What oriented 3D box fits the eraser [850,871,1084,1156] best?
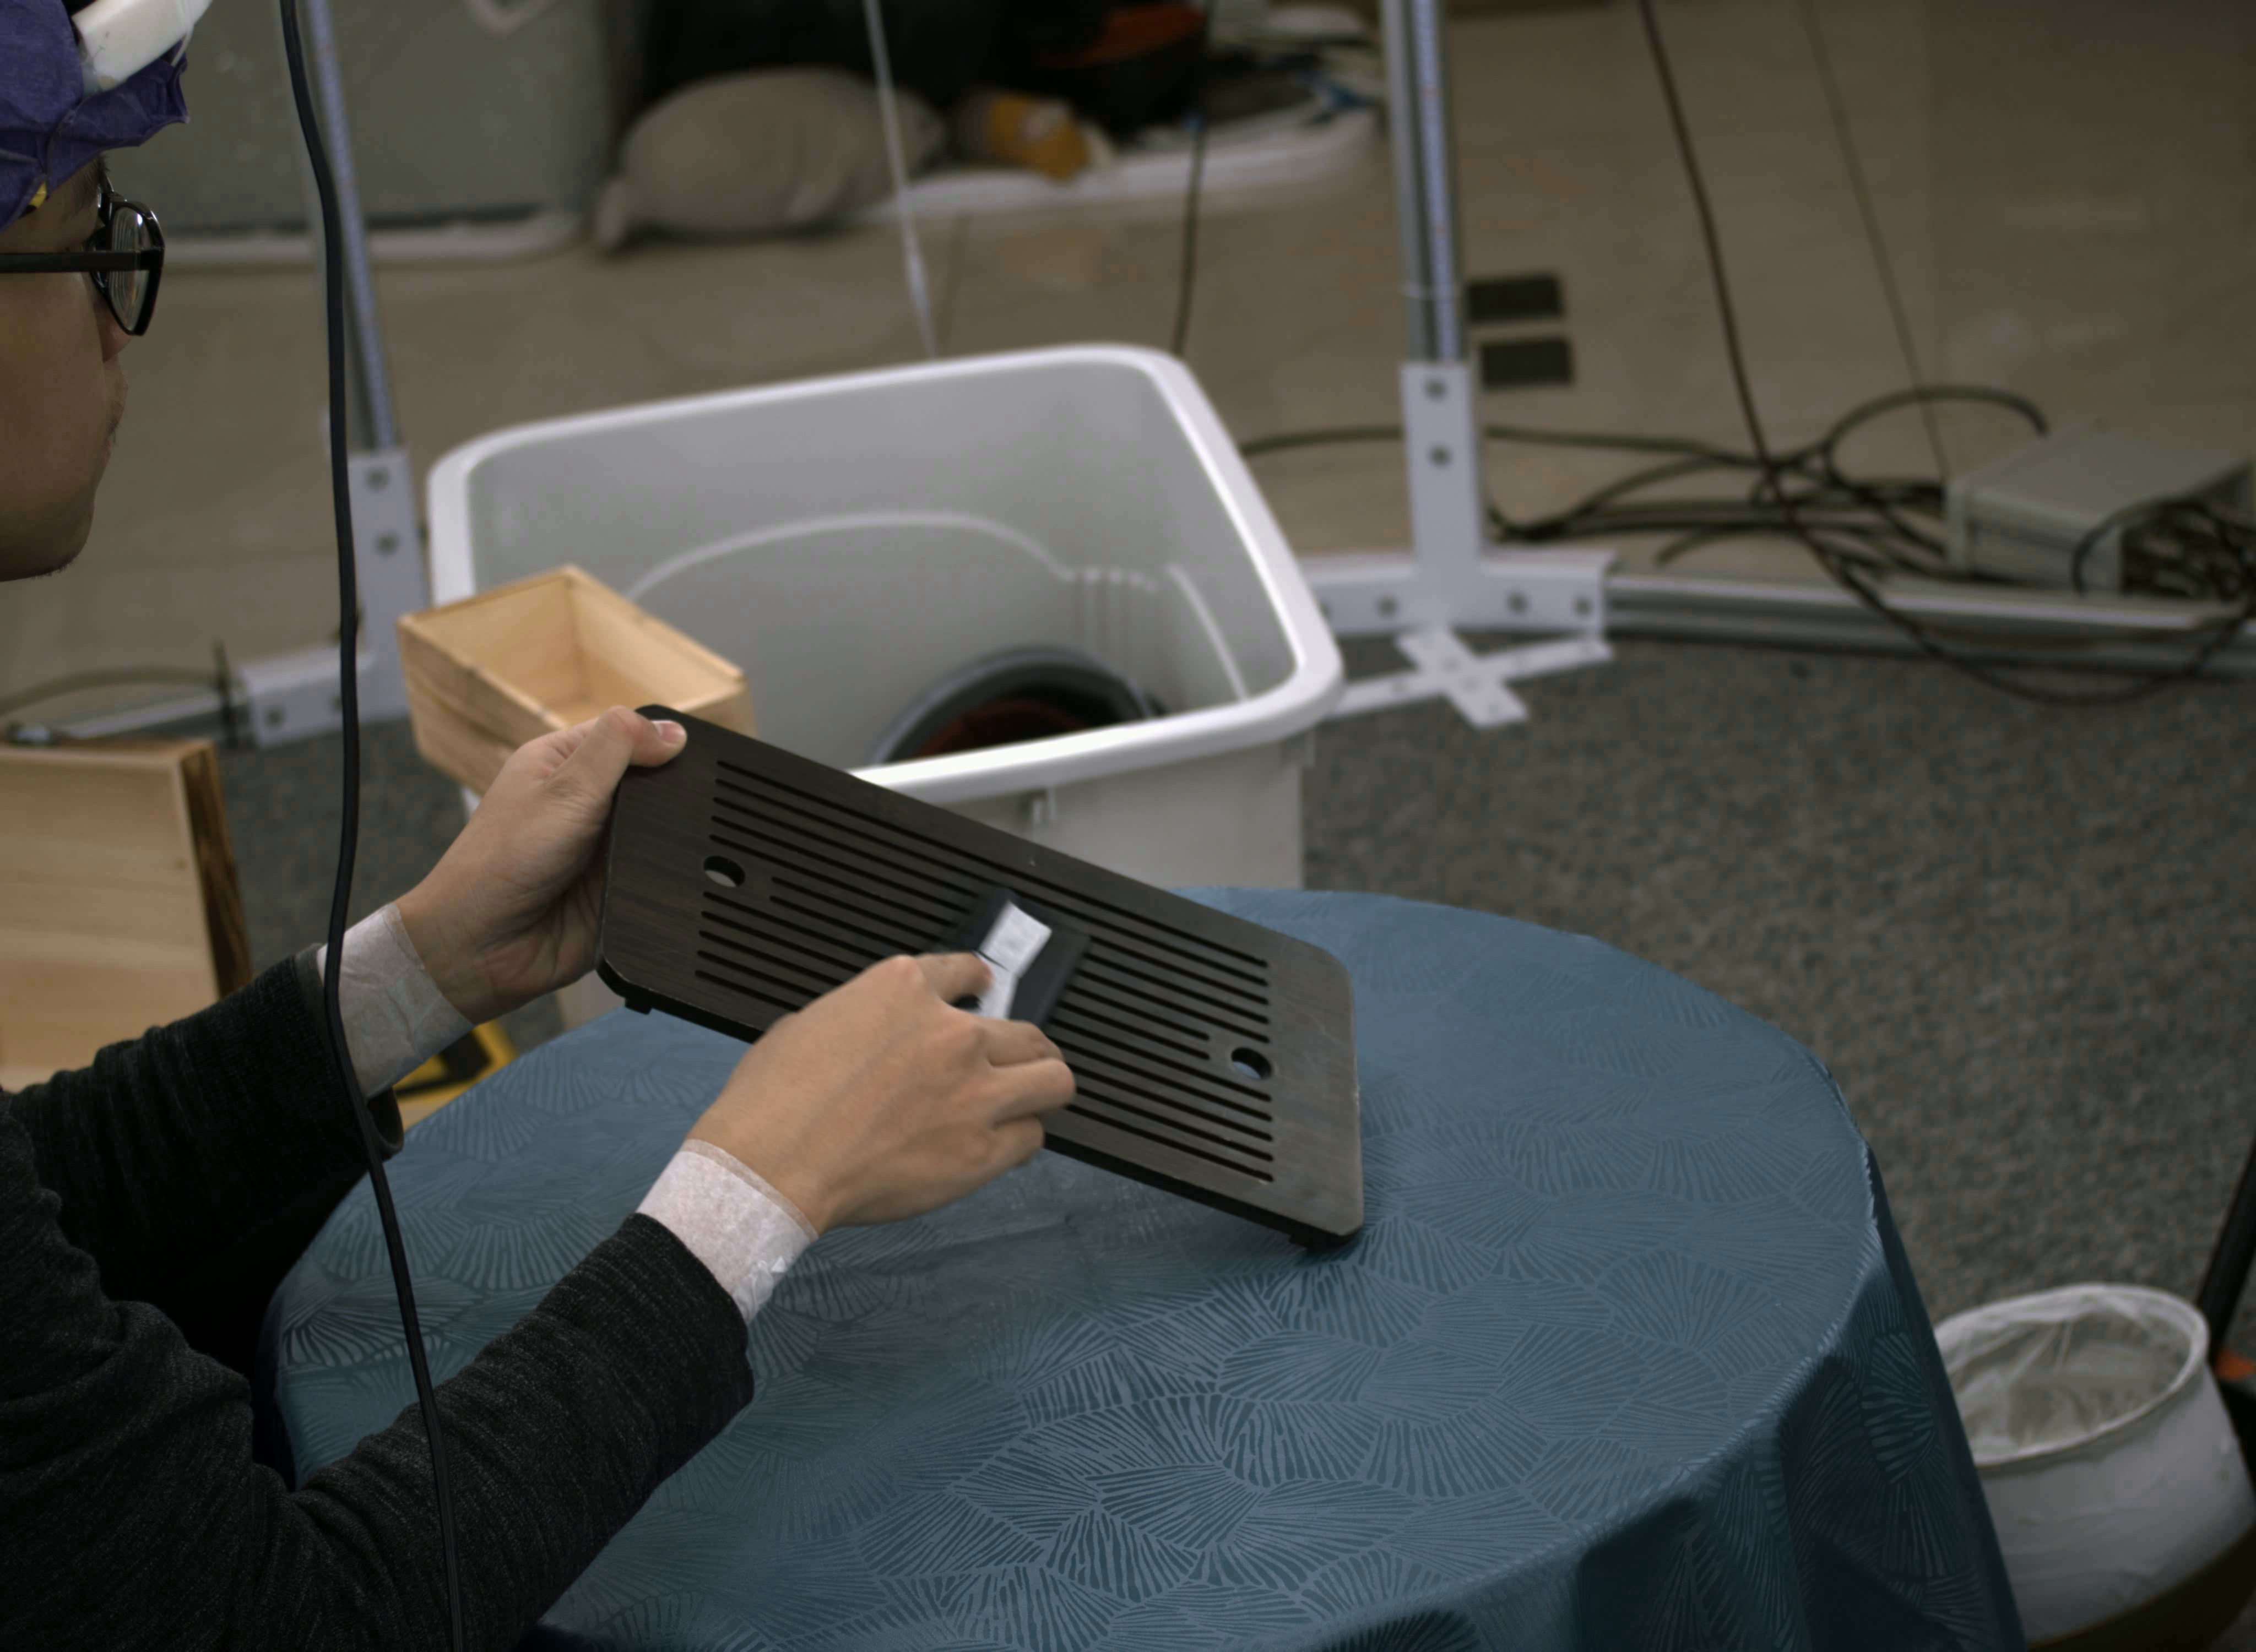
[{"bbox_3d":[-0.058,0.066,2.061,0.053,0.031,0.123,27,36,-1],"label":"eraser"}]

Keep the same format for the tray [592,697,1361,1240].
[{"bbox_3d":[-0.054,0.055,2.116,0.307,0.019,0.167,21,35,-15],"label":"tray"}]
